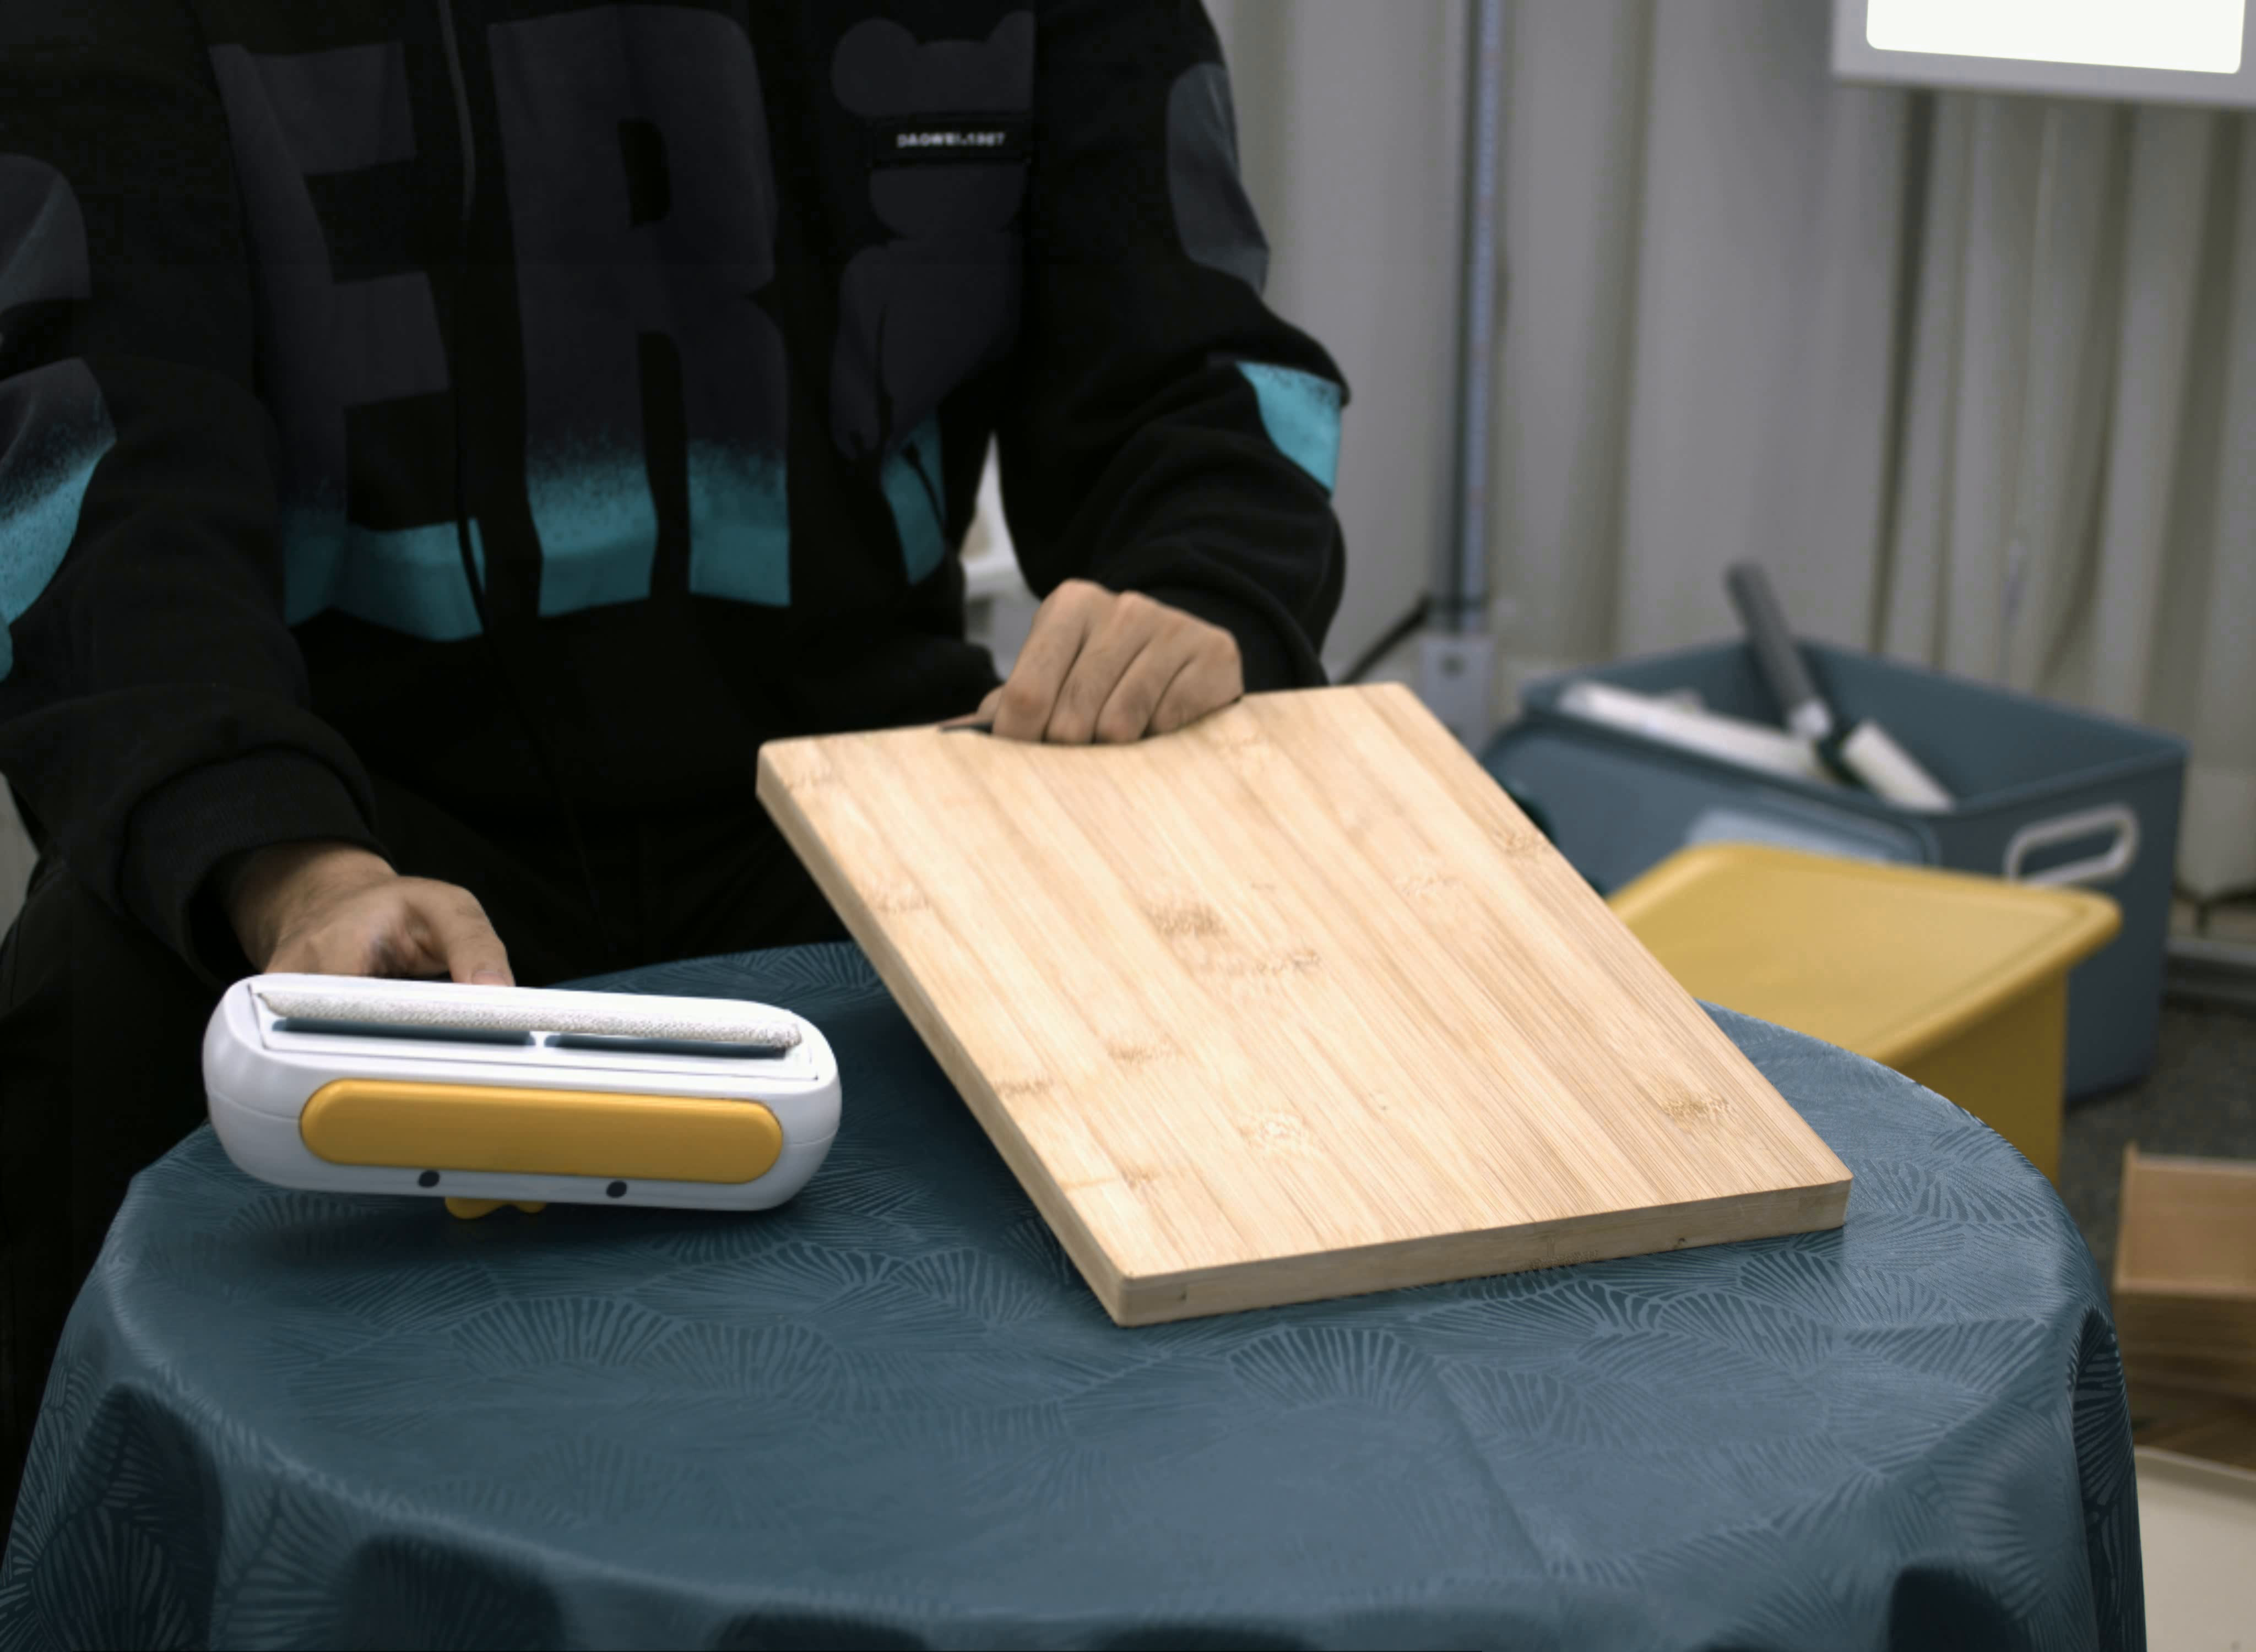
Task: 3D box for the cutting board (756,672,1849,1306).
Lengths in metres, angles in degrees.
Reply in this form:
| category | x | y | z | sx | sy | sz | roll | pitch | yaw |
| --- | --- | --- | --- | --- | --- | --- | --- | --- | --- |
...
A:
| category | x | y | z | sx | sy | sz | roll | pitch | yaw |
| --- | --- | --- | --- | --- | --- | --- | --- | --- | --- |
| cutting board | 0.046 | 0.044 | 1.685 | 0.251 | 0.024 | 0.344 | -6 | 30 | -22 |

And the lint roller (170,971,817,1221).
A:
| category | x | y | z | sx | sy | sz | roll | pitch | yaw |
| --- | --- | --- | --- | --- | --- | --- | --- | --- | --- |
| lint roller | -0.202 | 0.069 | 1.629 | 0.193 | 0.075 | 0.190 | 1 | 17 | -14 |
